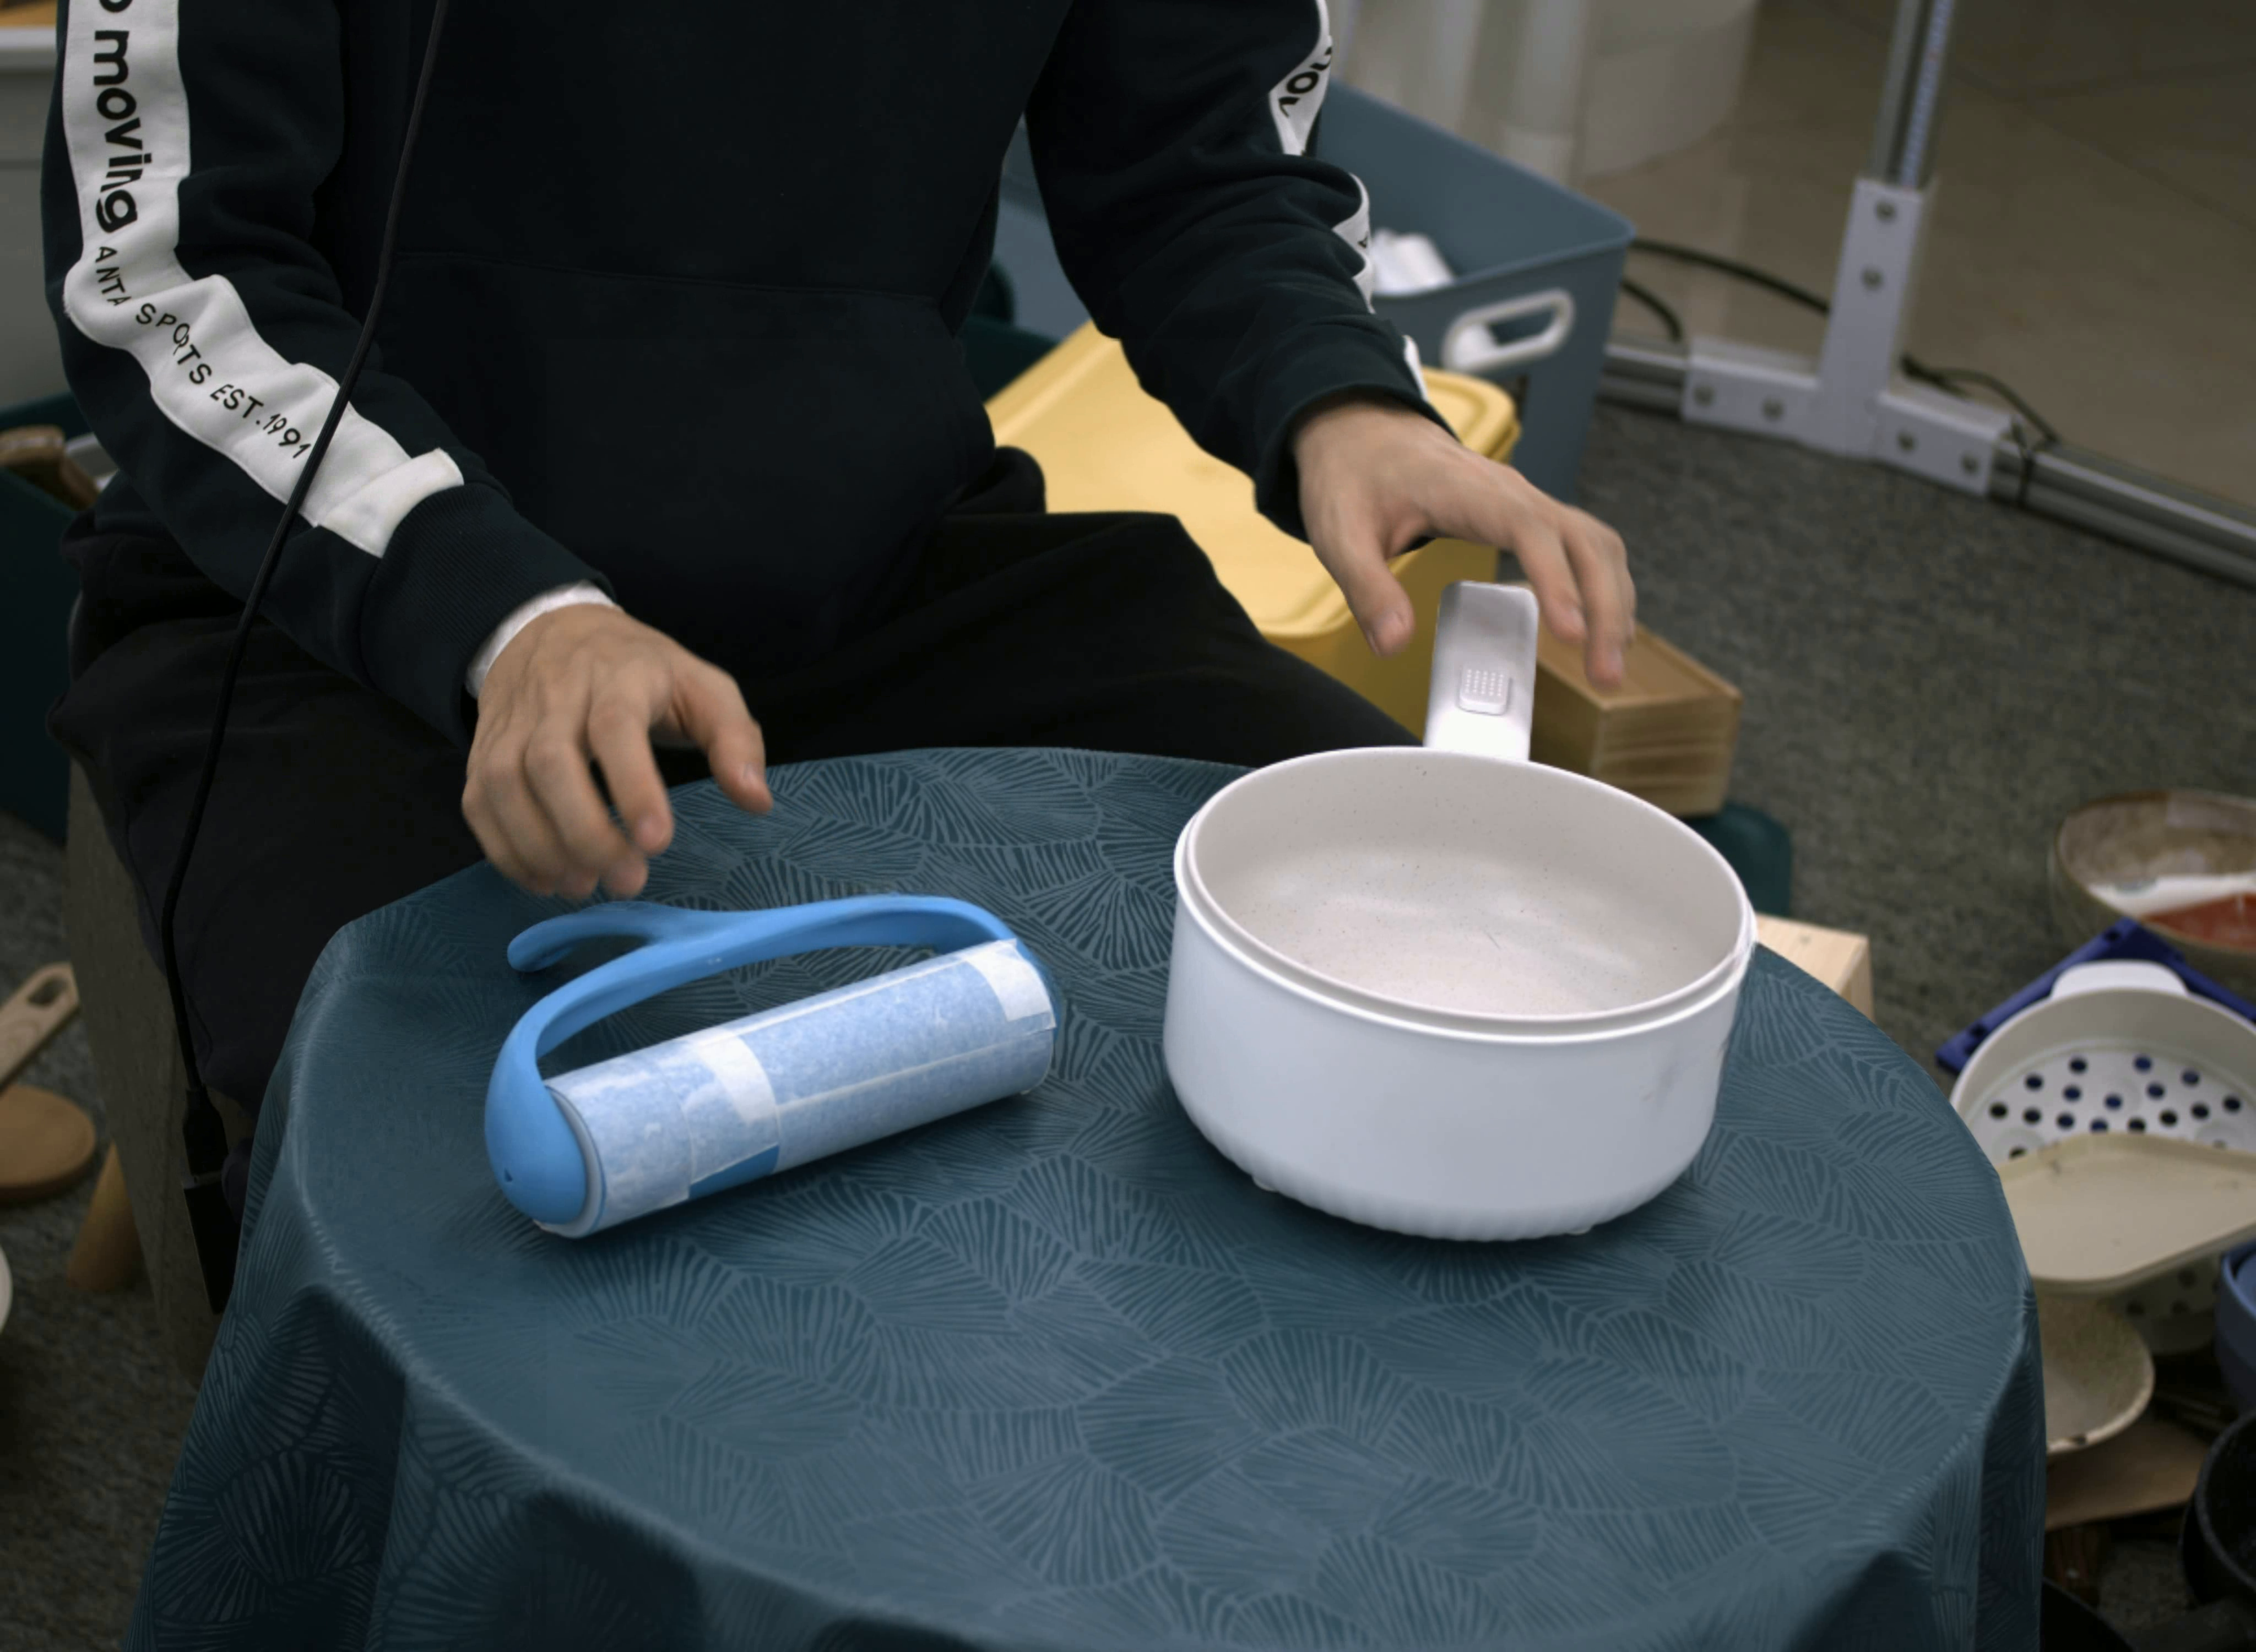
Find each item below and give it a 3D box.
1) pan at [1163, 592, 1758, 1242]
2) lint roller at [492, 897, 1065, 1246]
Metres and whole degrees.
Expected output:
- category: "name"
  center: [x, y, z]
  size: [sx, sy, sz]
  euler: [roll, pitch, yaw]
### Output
- category: "pan"
  center: [0.118, 0.029, 1.903]
  size: [0.201, 0.102, 0.356]
  euler: [7, 26, 3]
- category: "lint roller"
  center: [-0.153, 0.063, 1.820]
  size: [0.228, 0.067, 0.182]
  euler: [-20, 38, -39]
